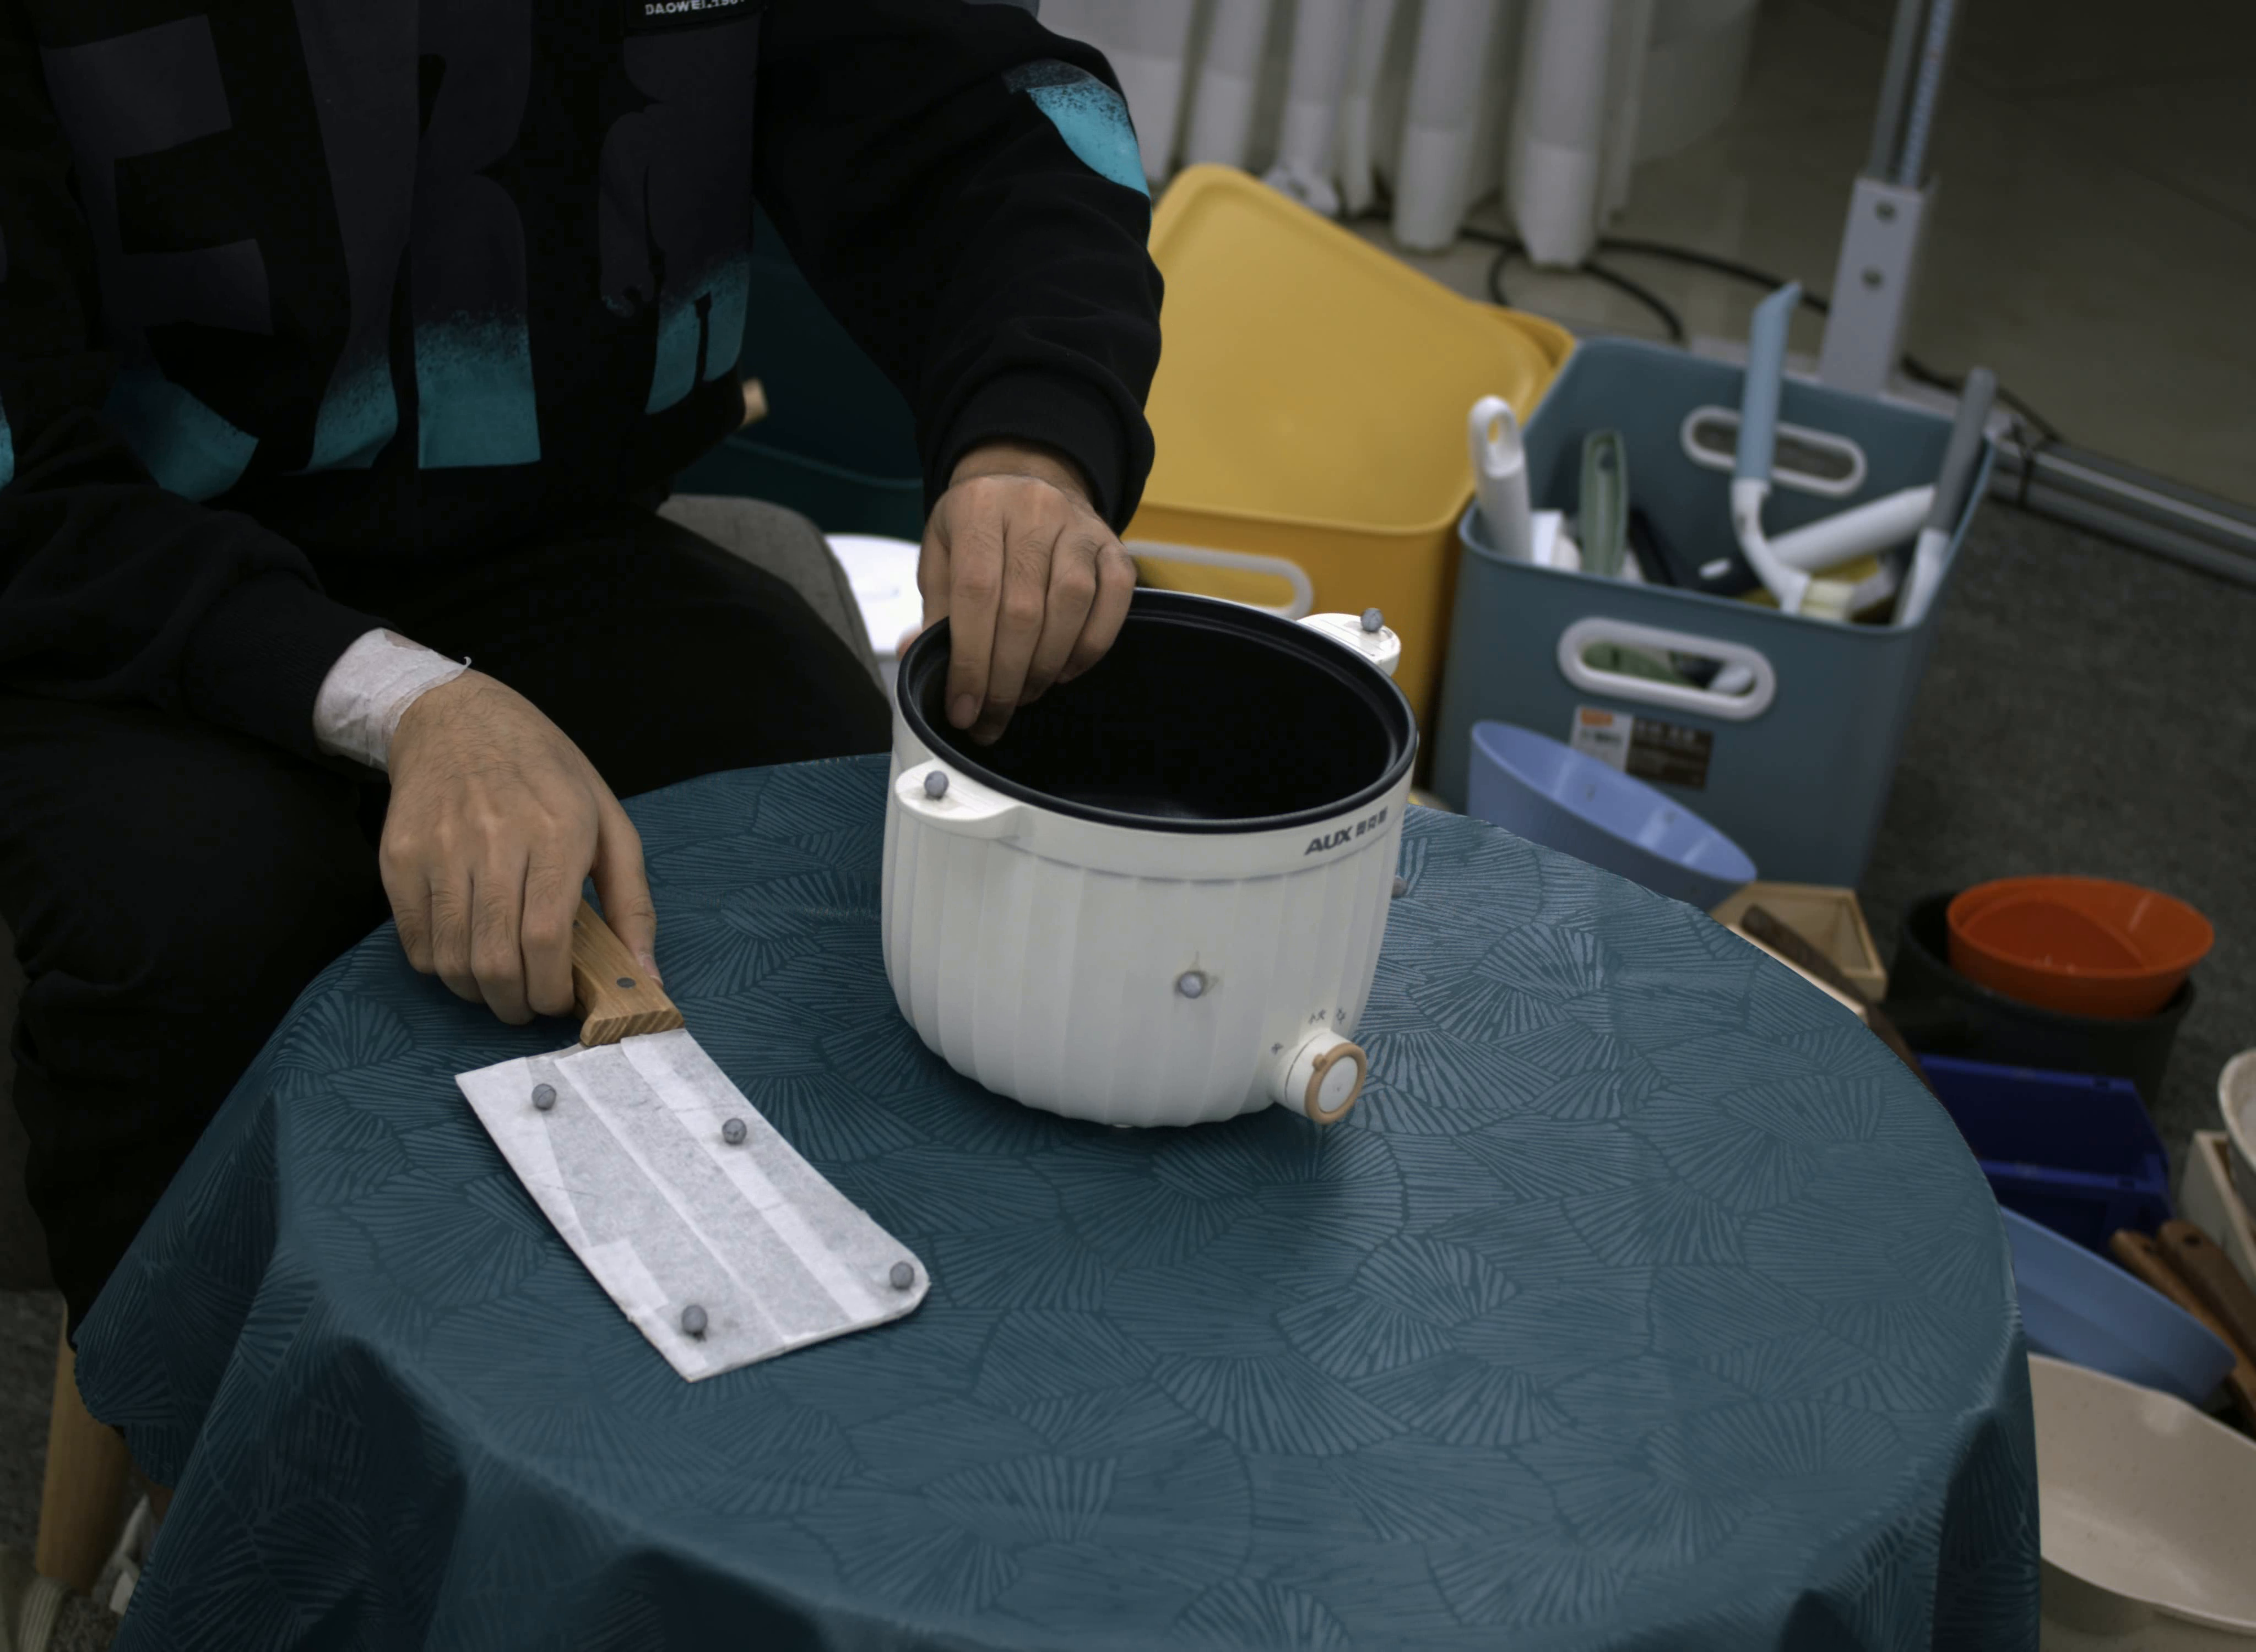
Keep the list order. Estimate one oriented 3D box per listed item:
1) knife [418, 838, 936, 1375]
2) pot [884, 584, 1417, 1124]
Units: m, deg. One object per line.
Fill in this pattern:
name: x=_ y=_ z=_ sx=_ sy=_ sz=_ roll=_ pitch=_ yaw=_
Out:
knife: x=-0.168 y=0.090 z=1.809 sx=0.113 sy=0.021 sz=0.318 roll=-10 pitch=34 yaw=-25
pot: x=0.008 y=0.016 z=1.862 sx=0.192 sy=0.142 sz=0.239 roll=24 pitch=33 yaw=37
